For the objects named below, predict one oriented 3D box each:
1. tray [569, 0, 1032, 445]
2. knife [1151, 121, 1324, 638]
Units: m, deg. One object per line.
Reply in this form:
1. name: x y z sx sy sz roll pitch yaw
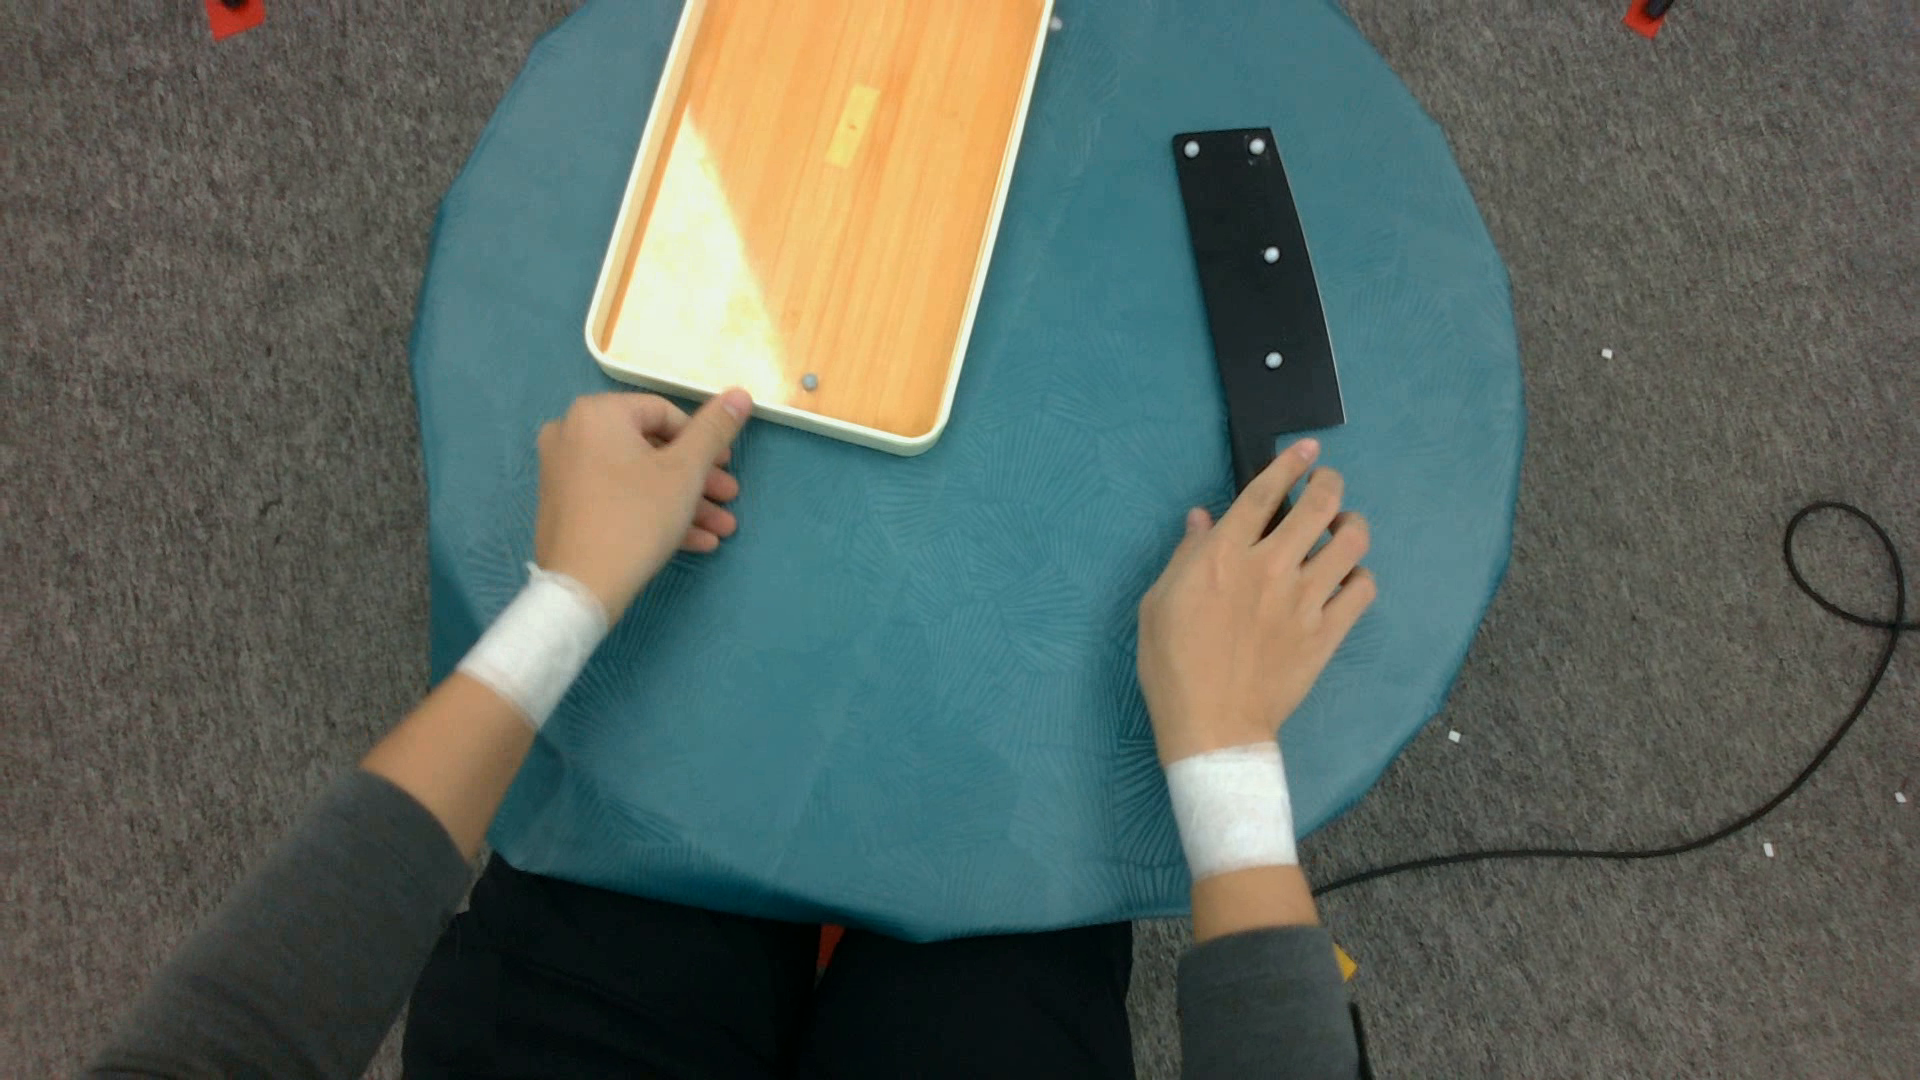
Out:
1. tray: -0.079 -0.212 0.747 0.191 0.027 0.301 14 76 -3
2. knife: 0.162 -0.095 0.757 0.081 0.021 0.303 -3 76 -10
